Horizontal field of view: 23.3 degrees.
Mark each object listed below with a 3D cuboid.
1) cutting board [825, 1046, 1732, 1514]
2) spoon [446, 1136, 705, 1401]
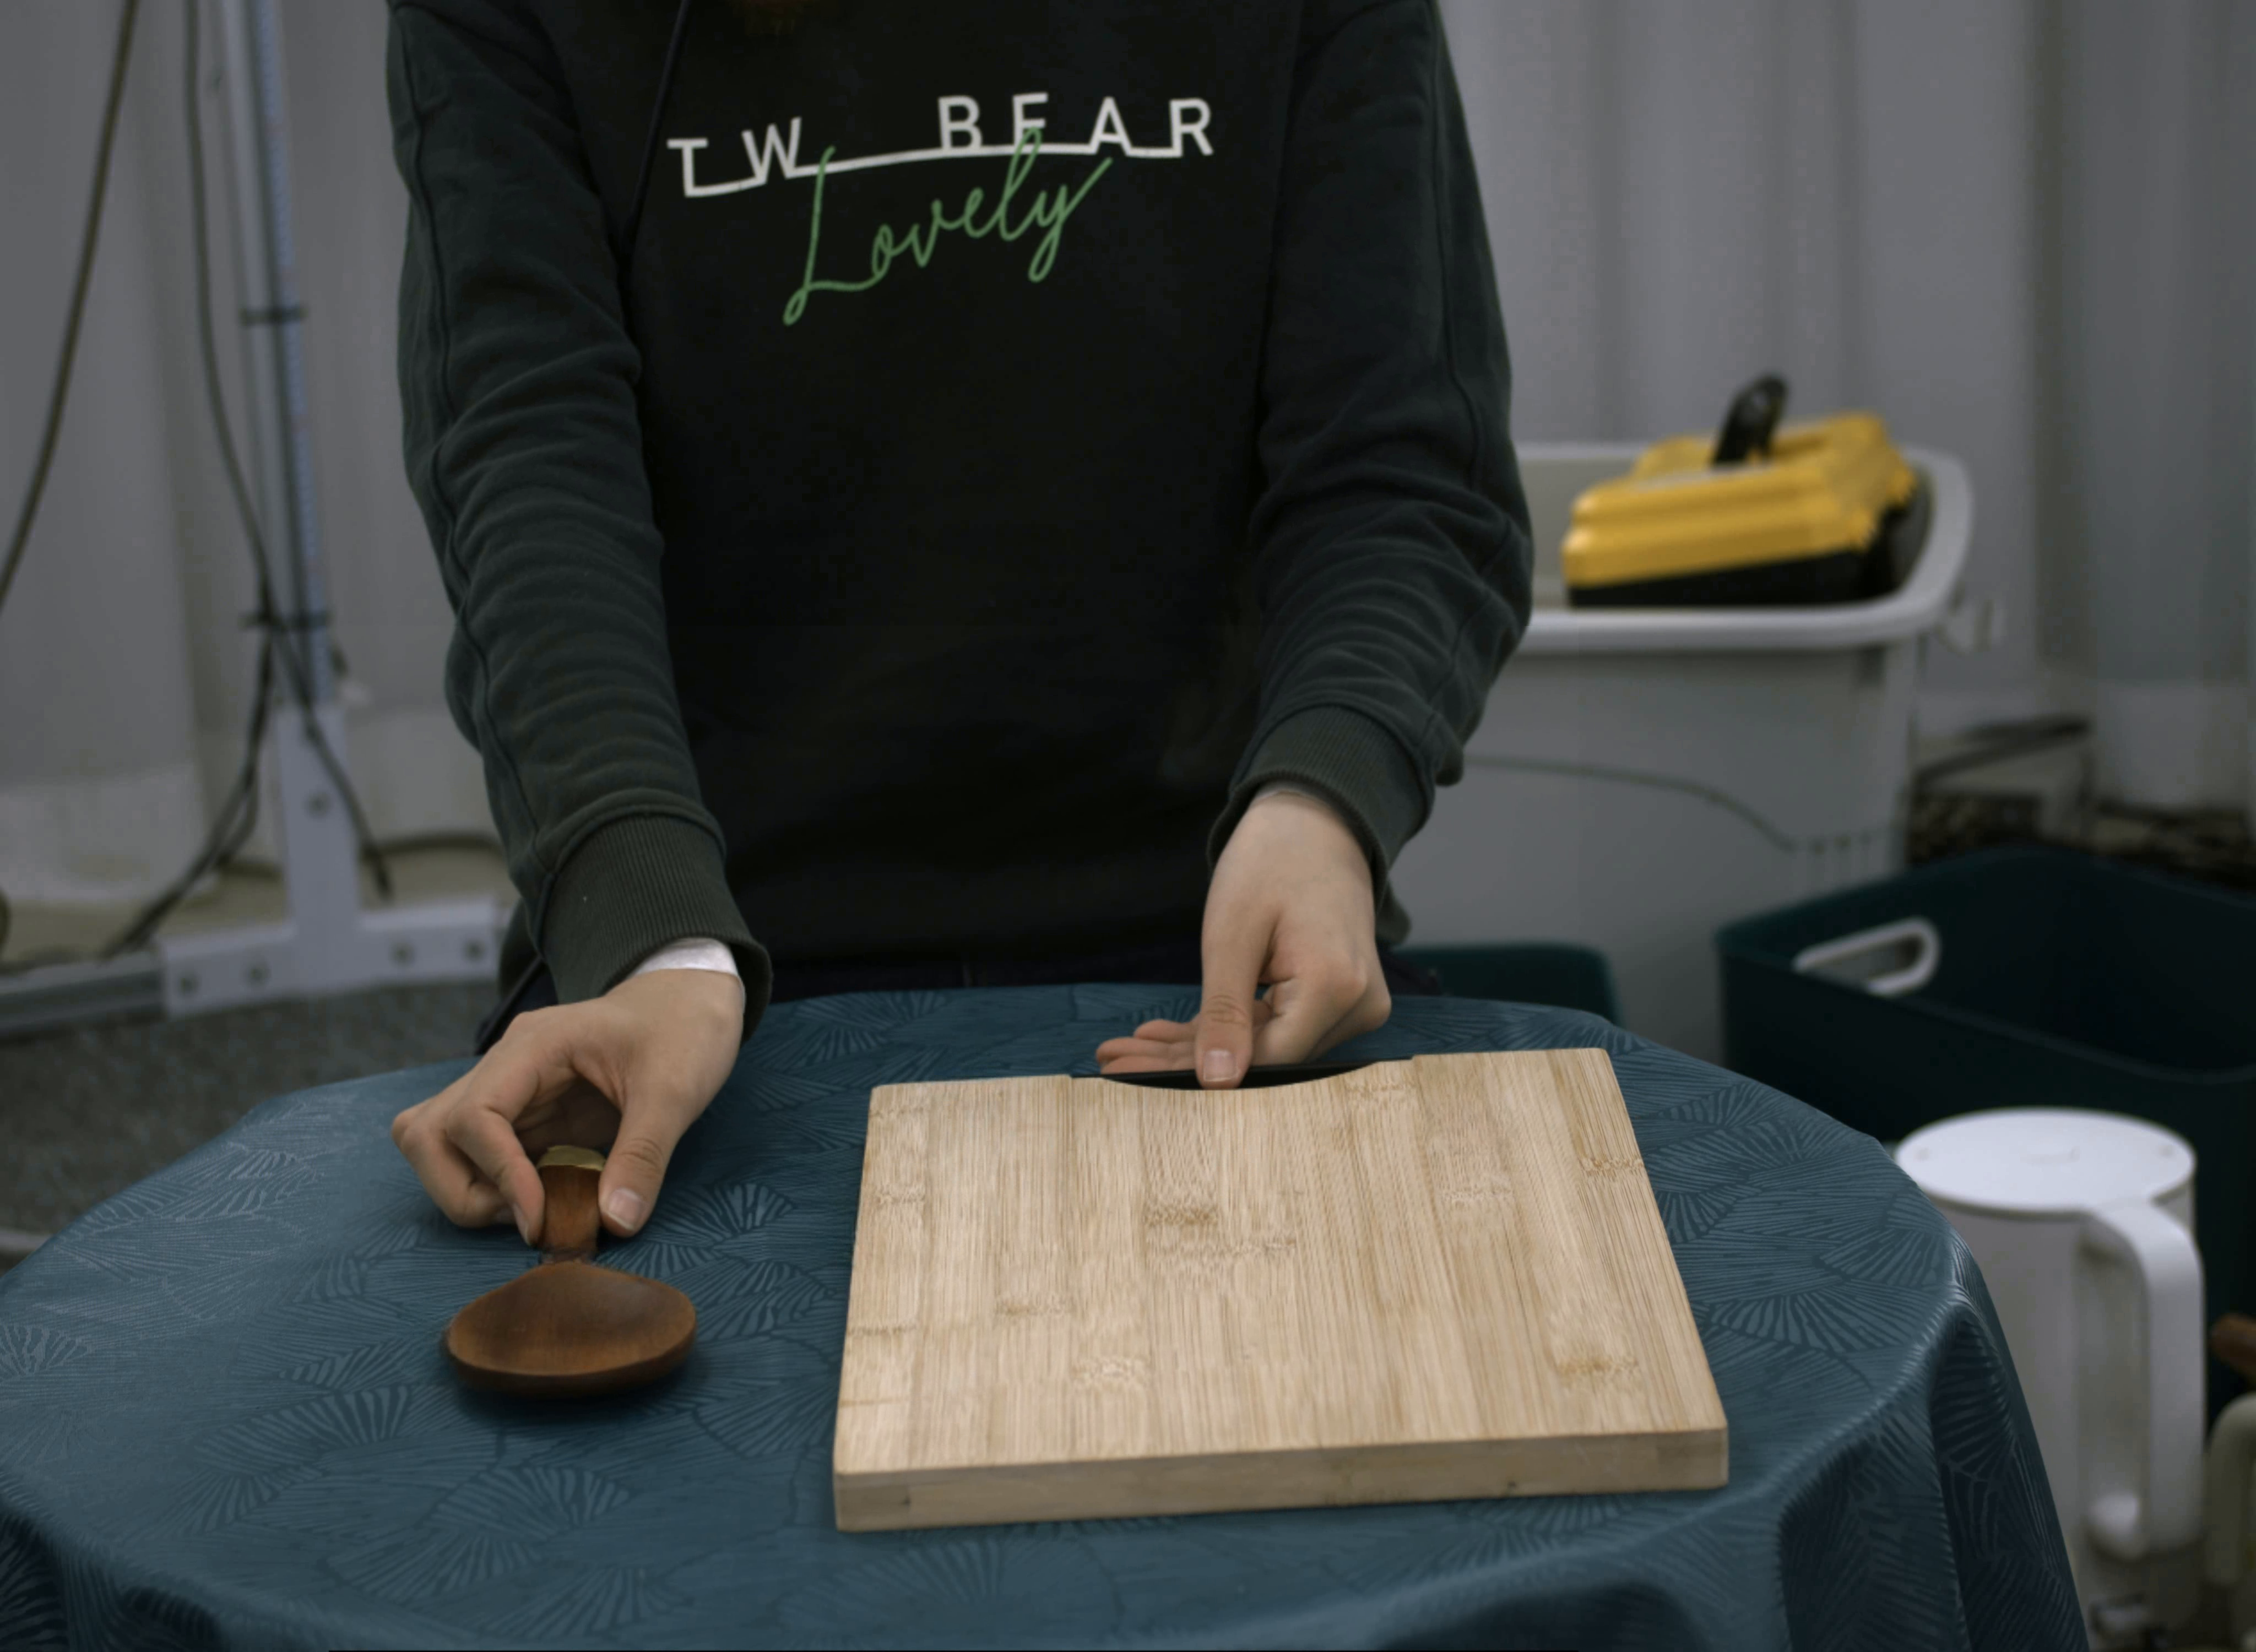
[{"bbox_3d":[0.039,0.130,1.621,0.250,0.023,0.351,-2,15,-1],"label":"cutting board"},{"bbox_3d":[-0.165,0.134,1.640,0.075,0.017,0.217,-6,16,-4],"label":"spoon"}]
